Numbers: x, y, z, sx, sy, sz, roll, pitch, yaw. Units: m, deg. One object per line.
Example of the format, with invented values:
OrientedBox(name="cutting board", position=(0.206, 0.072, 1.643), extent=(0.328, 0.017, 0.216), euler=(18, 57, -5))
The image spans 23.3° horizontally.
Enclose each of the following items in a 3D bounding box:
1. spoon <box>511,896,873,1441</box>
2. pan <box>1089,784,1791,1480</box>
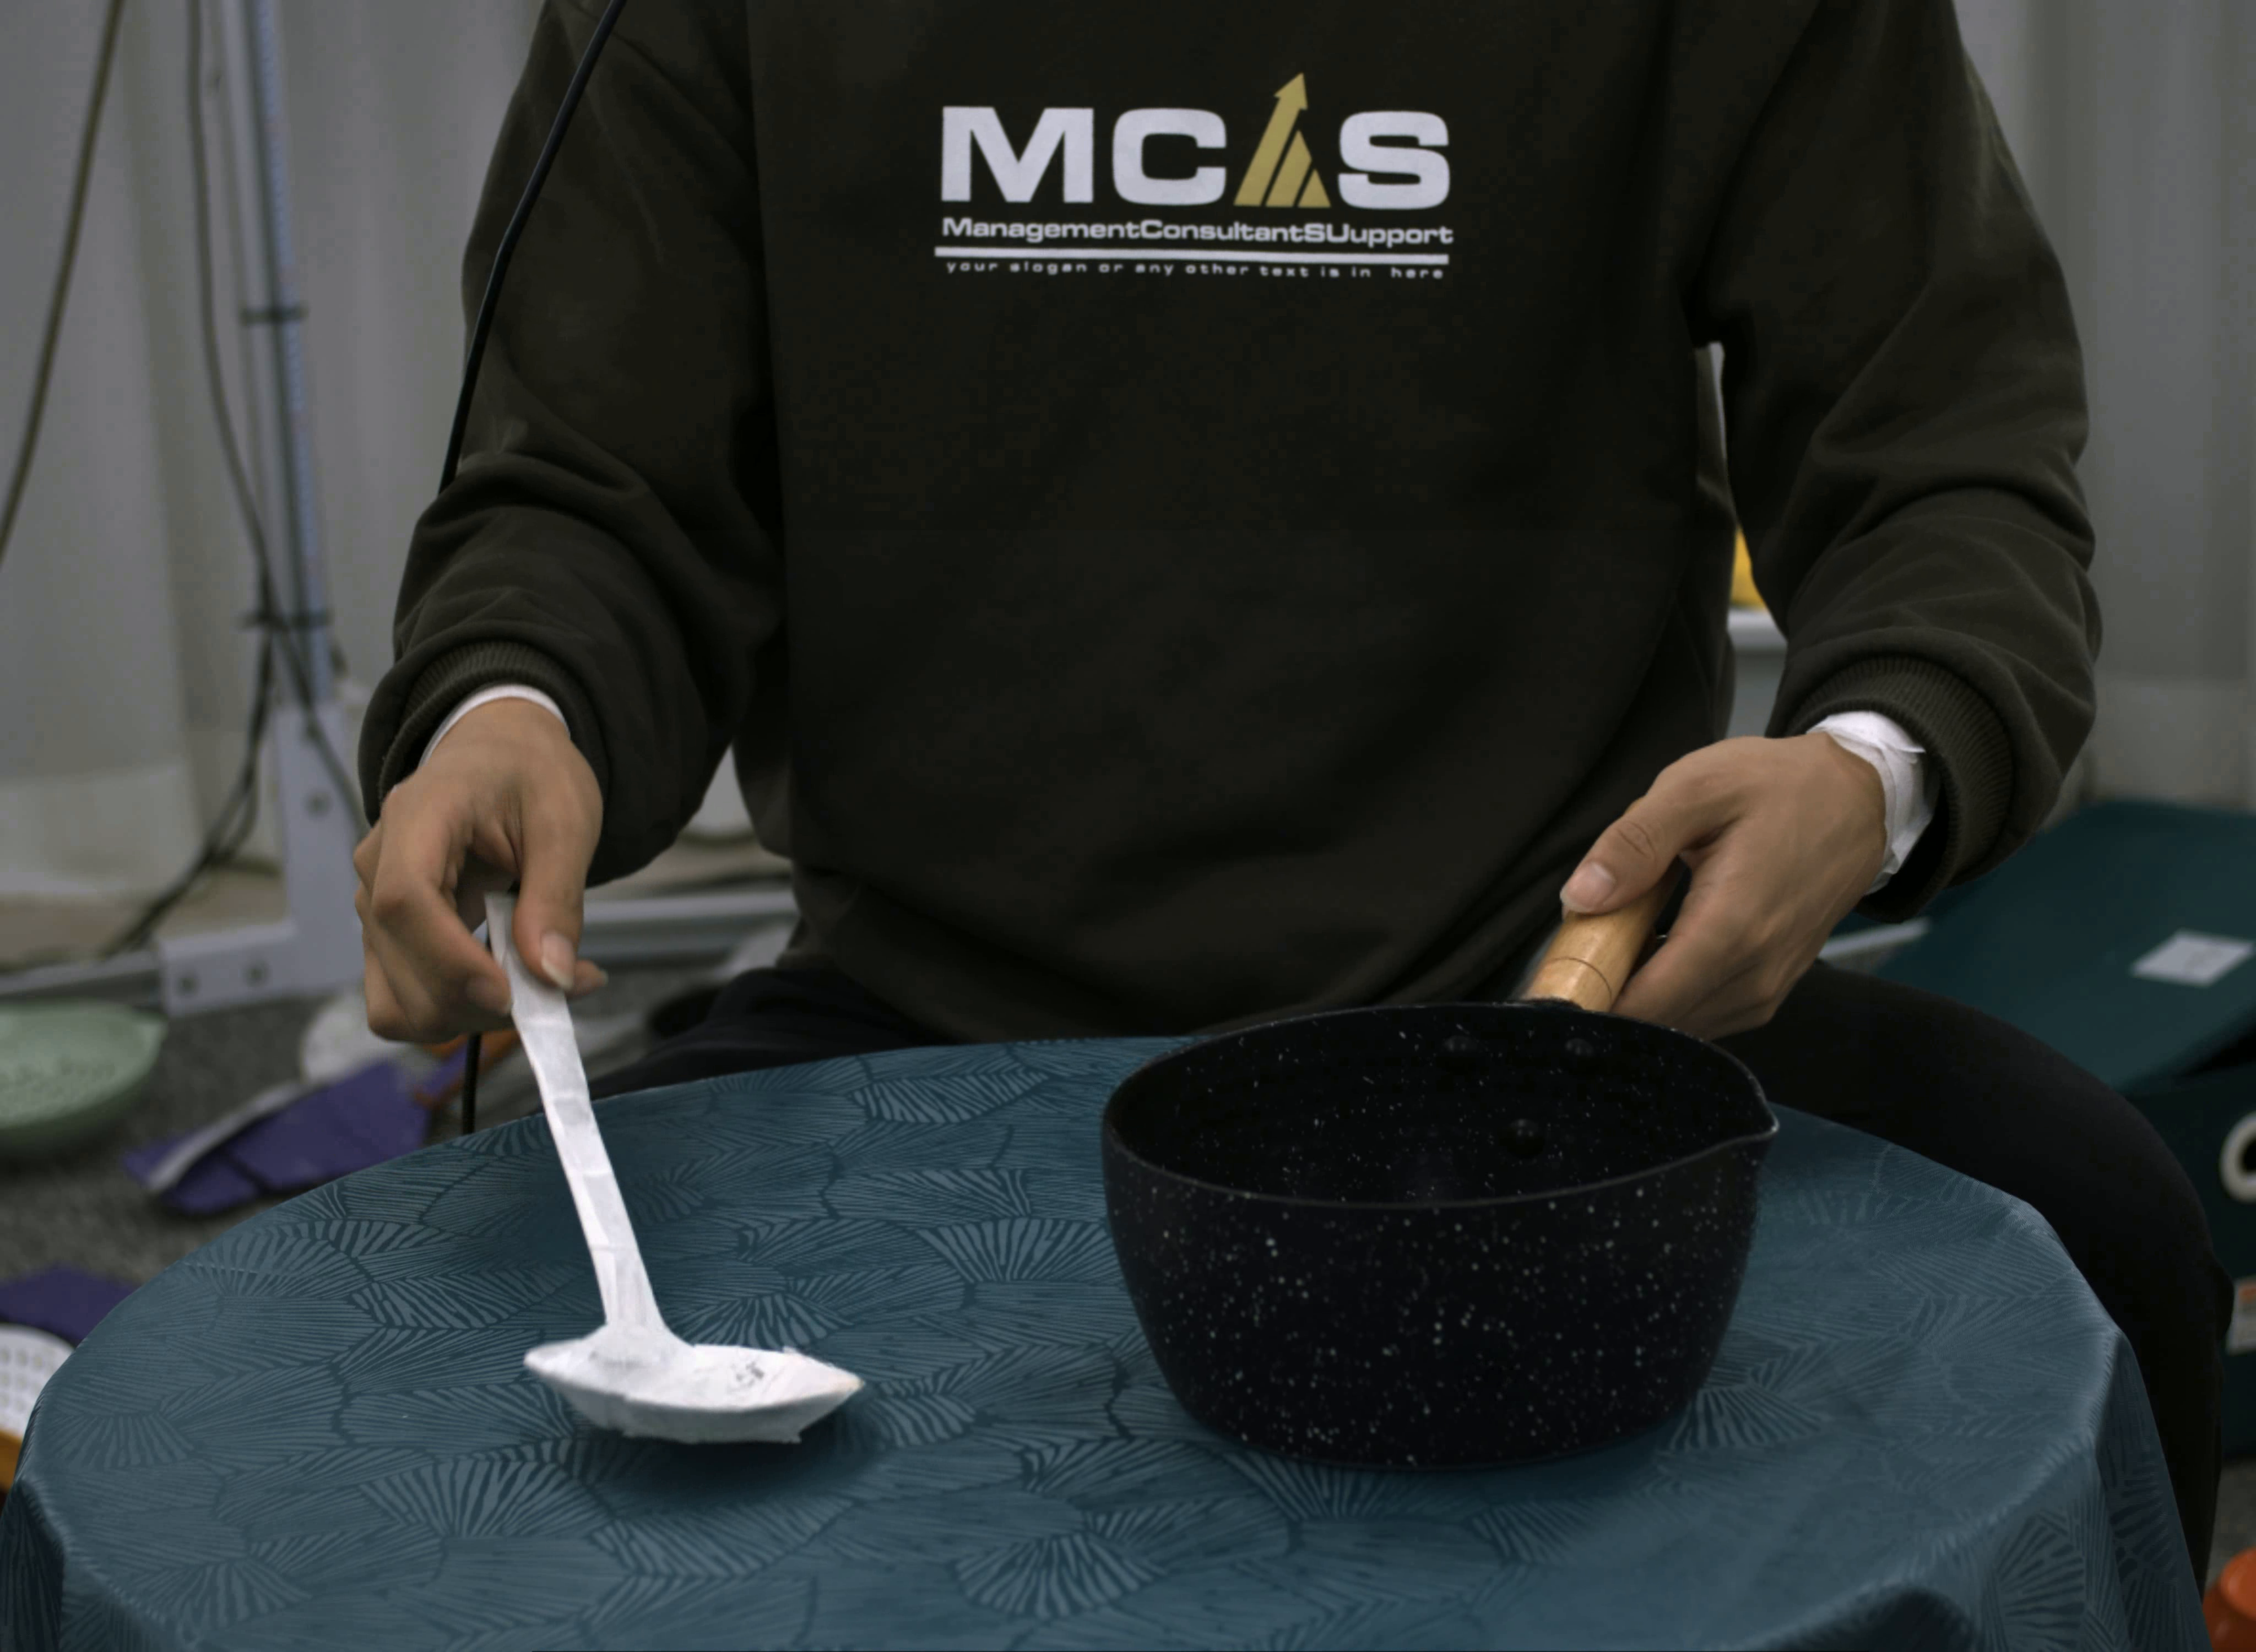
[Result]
OrientedBox(name="spoon", position=(-0.142, 0.091, 1.597), extent=(0.100, 0.059, 0.282), euler=(5, 36, -21))
OrientedBox(name="pan", position=(0.112, 0.084, 1.602), extent=(0.207, 0.108, 0.344), euler=(1, 17, 20))
